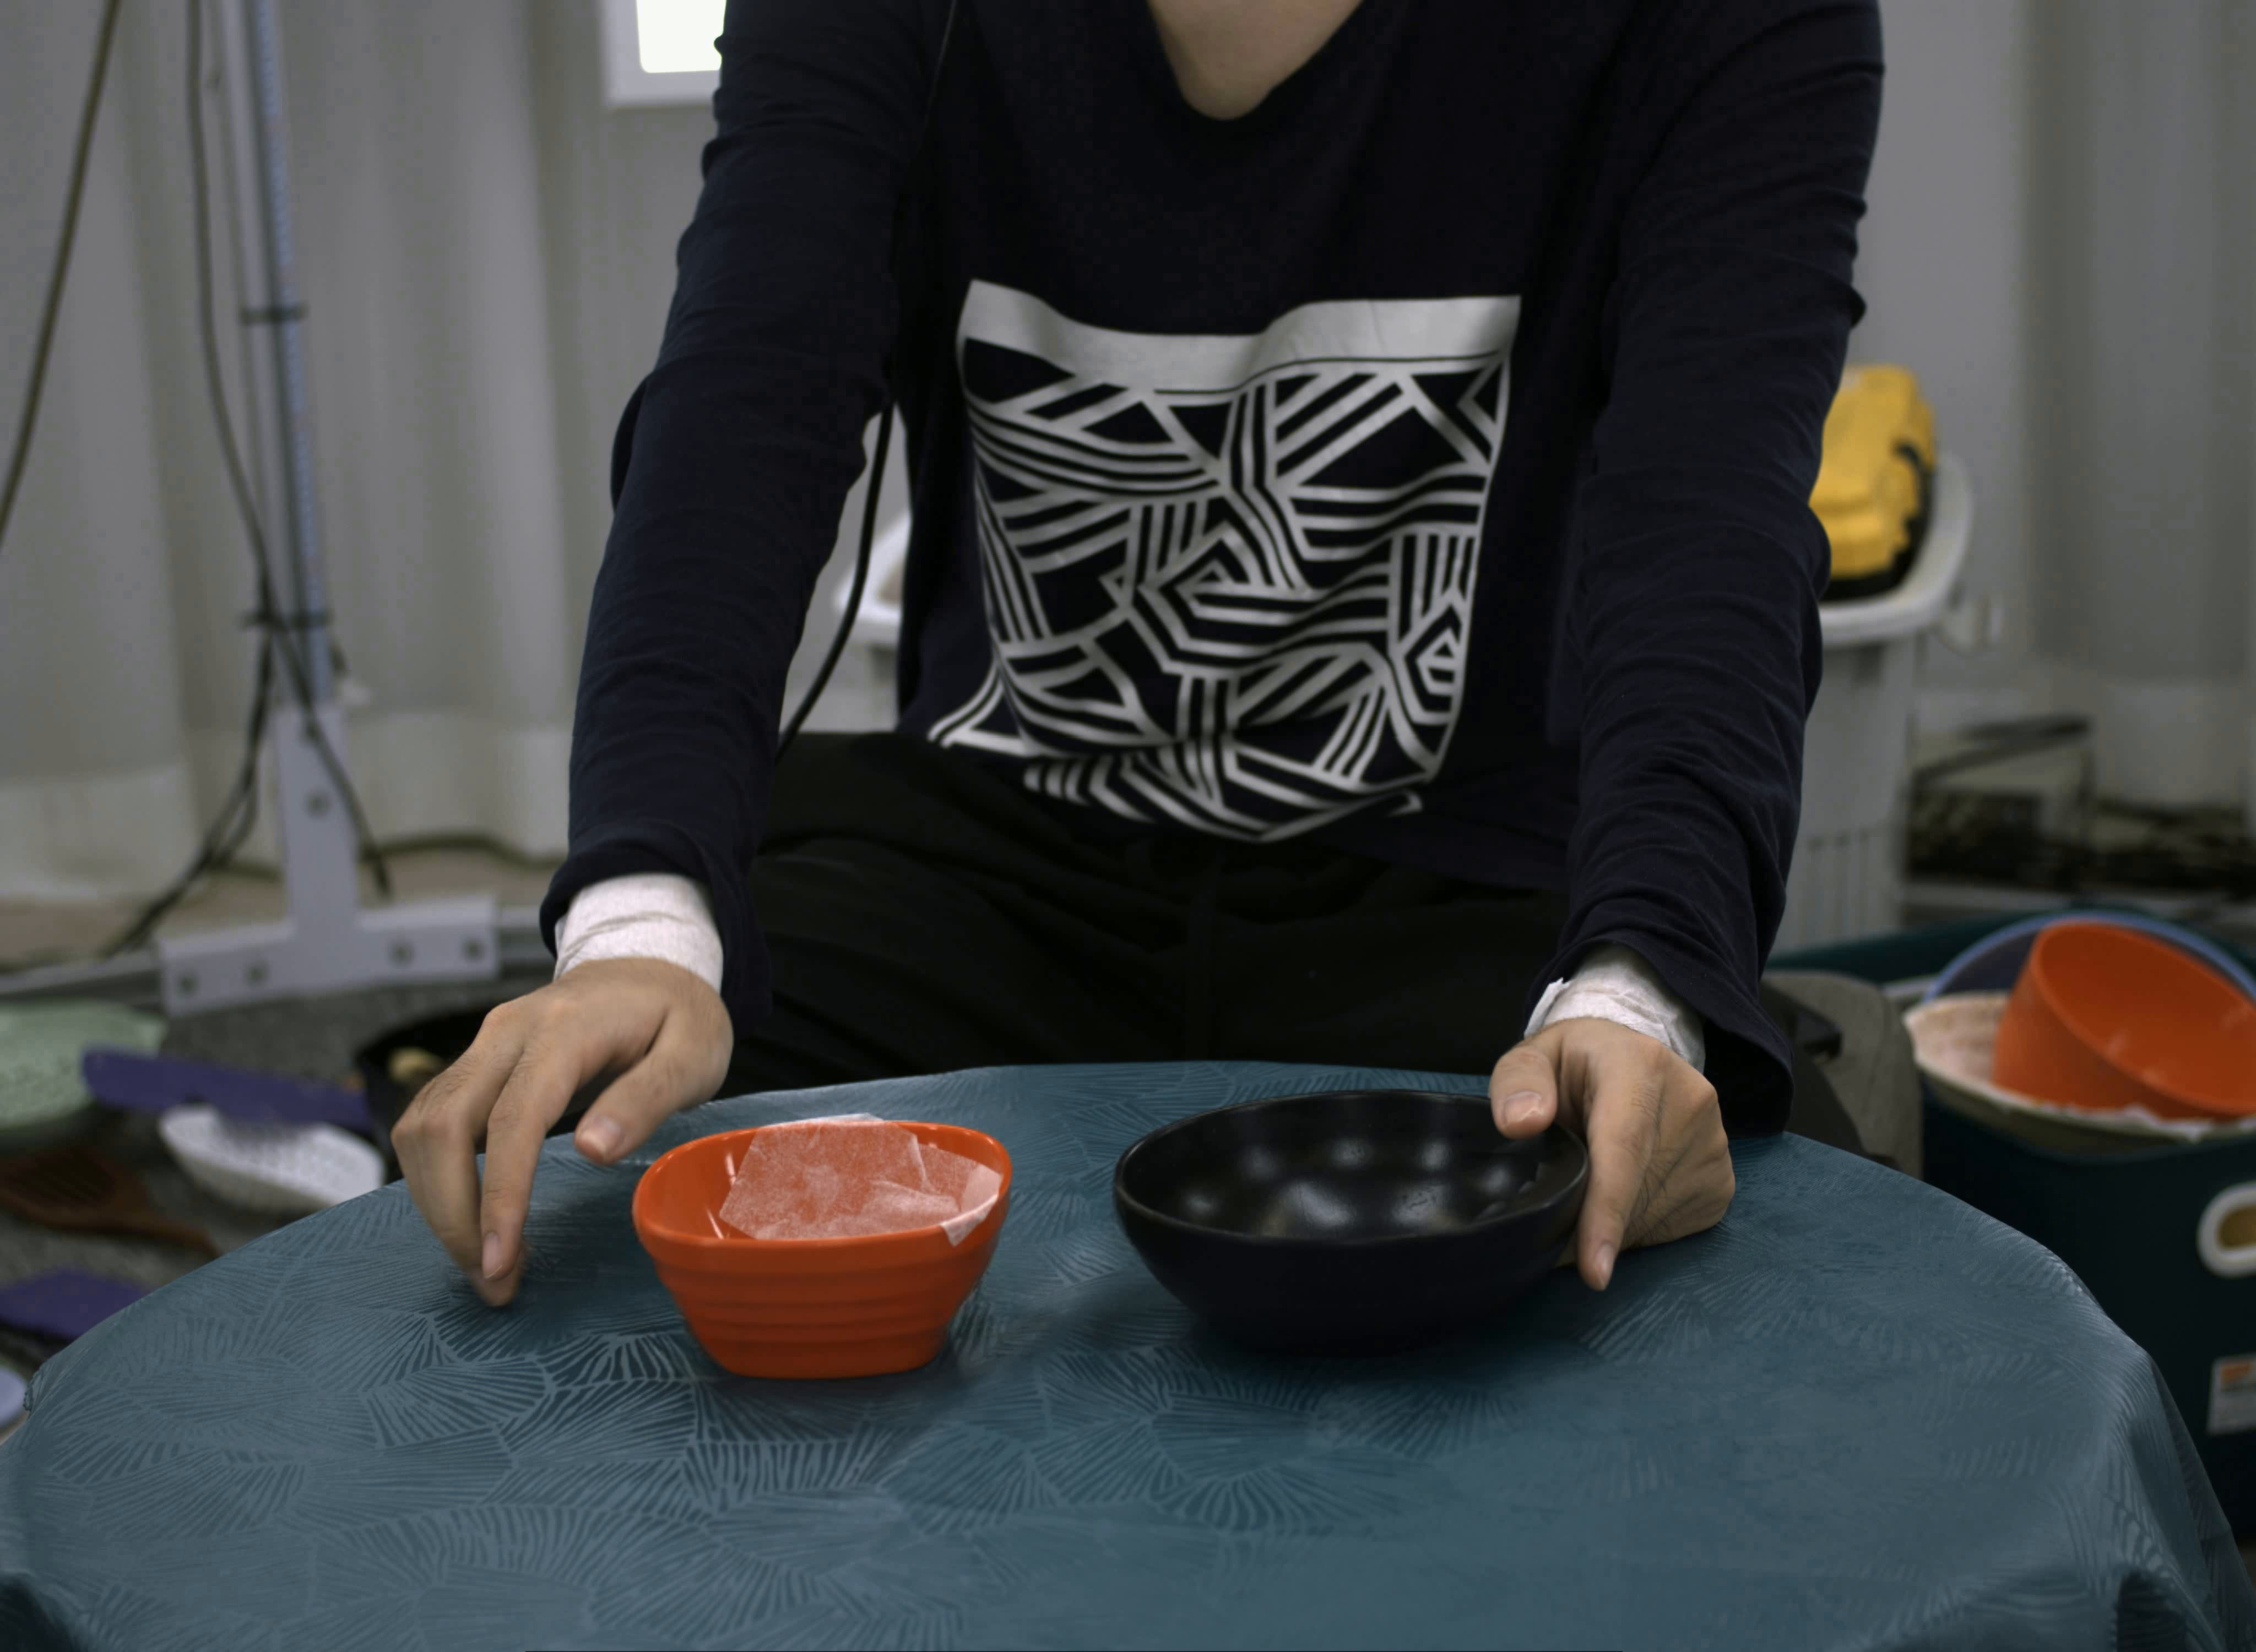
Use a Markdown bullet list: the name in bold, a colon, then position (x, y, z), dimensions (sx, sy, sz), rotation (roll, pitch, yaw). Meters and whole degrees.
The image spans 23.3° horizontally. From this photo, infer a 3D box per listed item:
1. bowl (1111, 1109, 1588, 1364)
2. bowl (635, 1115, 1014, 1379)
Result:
- **bowl**: position (0.065, 0.123, 1.589), dimensions (0.139, 0.049, 0.141), rotation (-2, 11, 0)
- **bowl**: position (-0.086, 0.125, 1.593), dimensions (0.118, 0.051, 0.120), rotation (-4, 15, 1)
